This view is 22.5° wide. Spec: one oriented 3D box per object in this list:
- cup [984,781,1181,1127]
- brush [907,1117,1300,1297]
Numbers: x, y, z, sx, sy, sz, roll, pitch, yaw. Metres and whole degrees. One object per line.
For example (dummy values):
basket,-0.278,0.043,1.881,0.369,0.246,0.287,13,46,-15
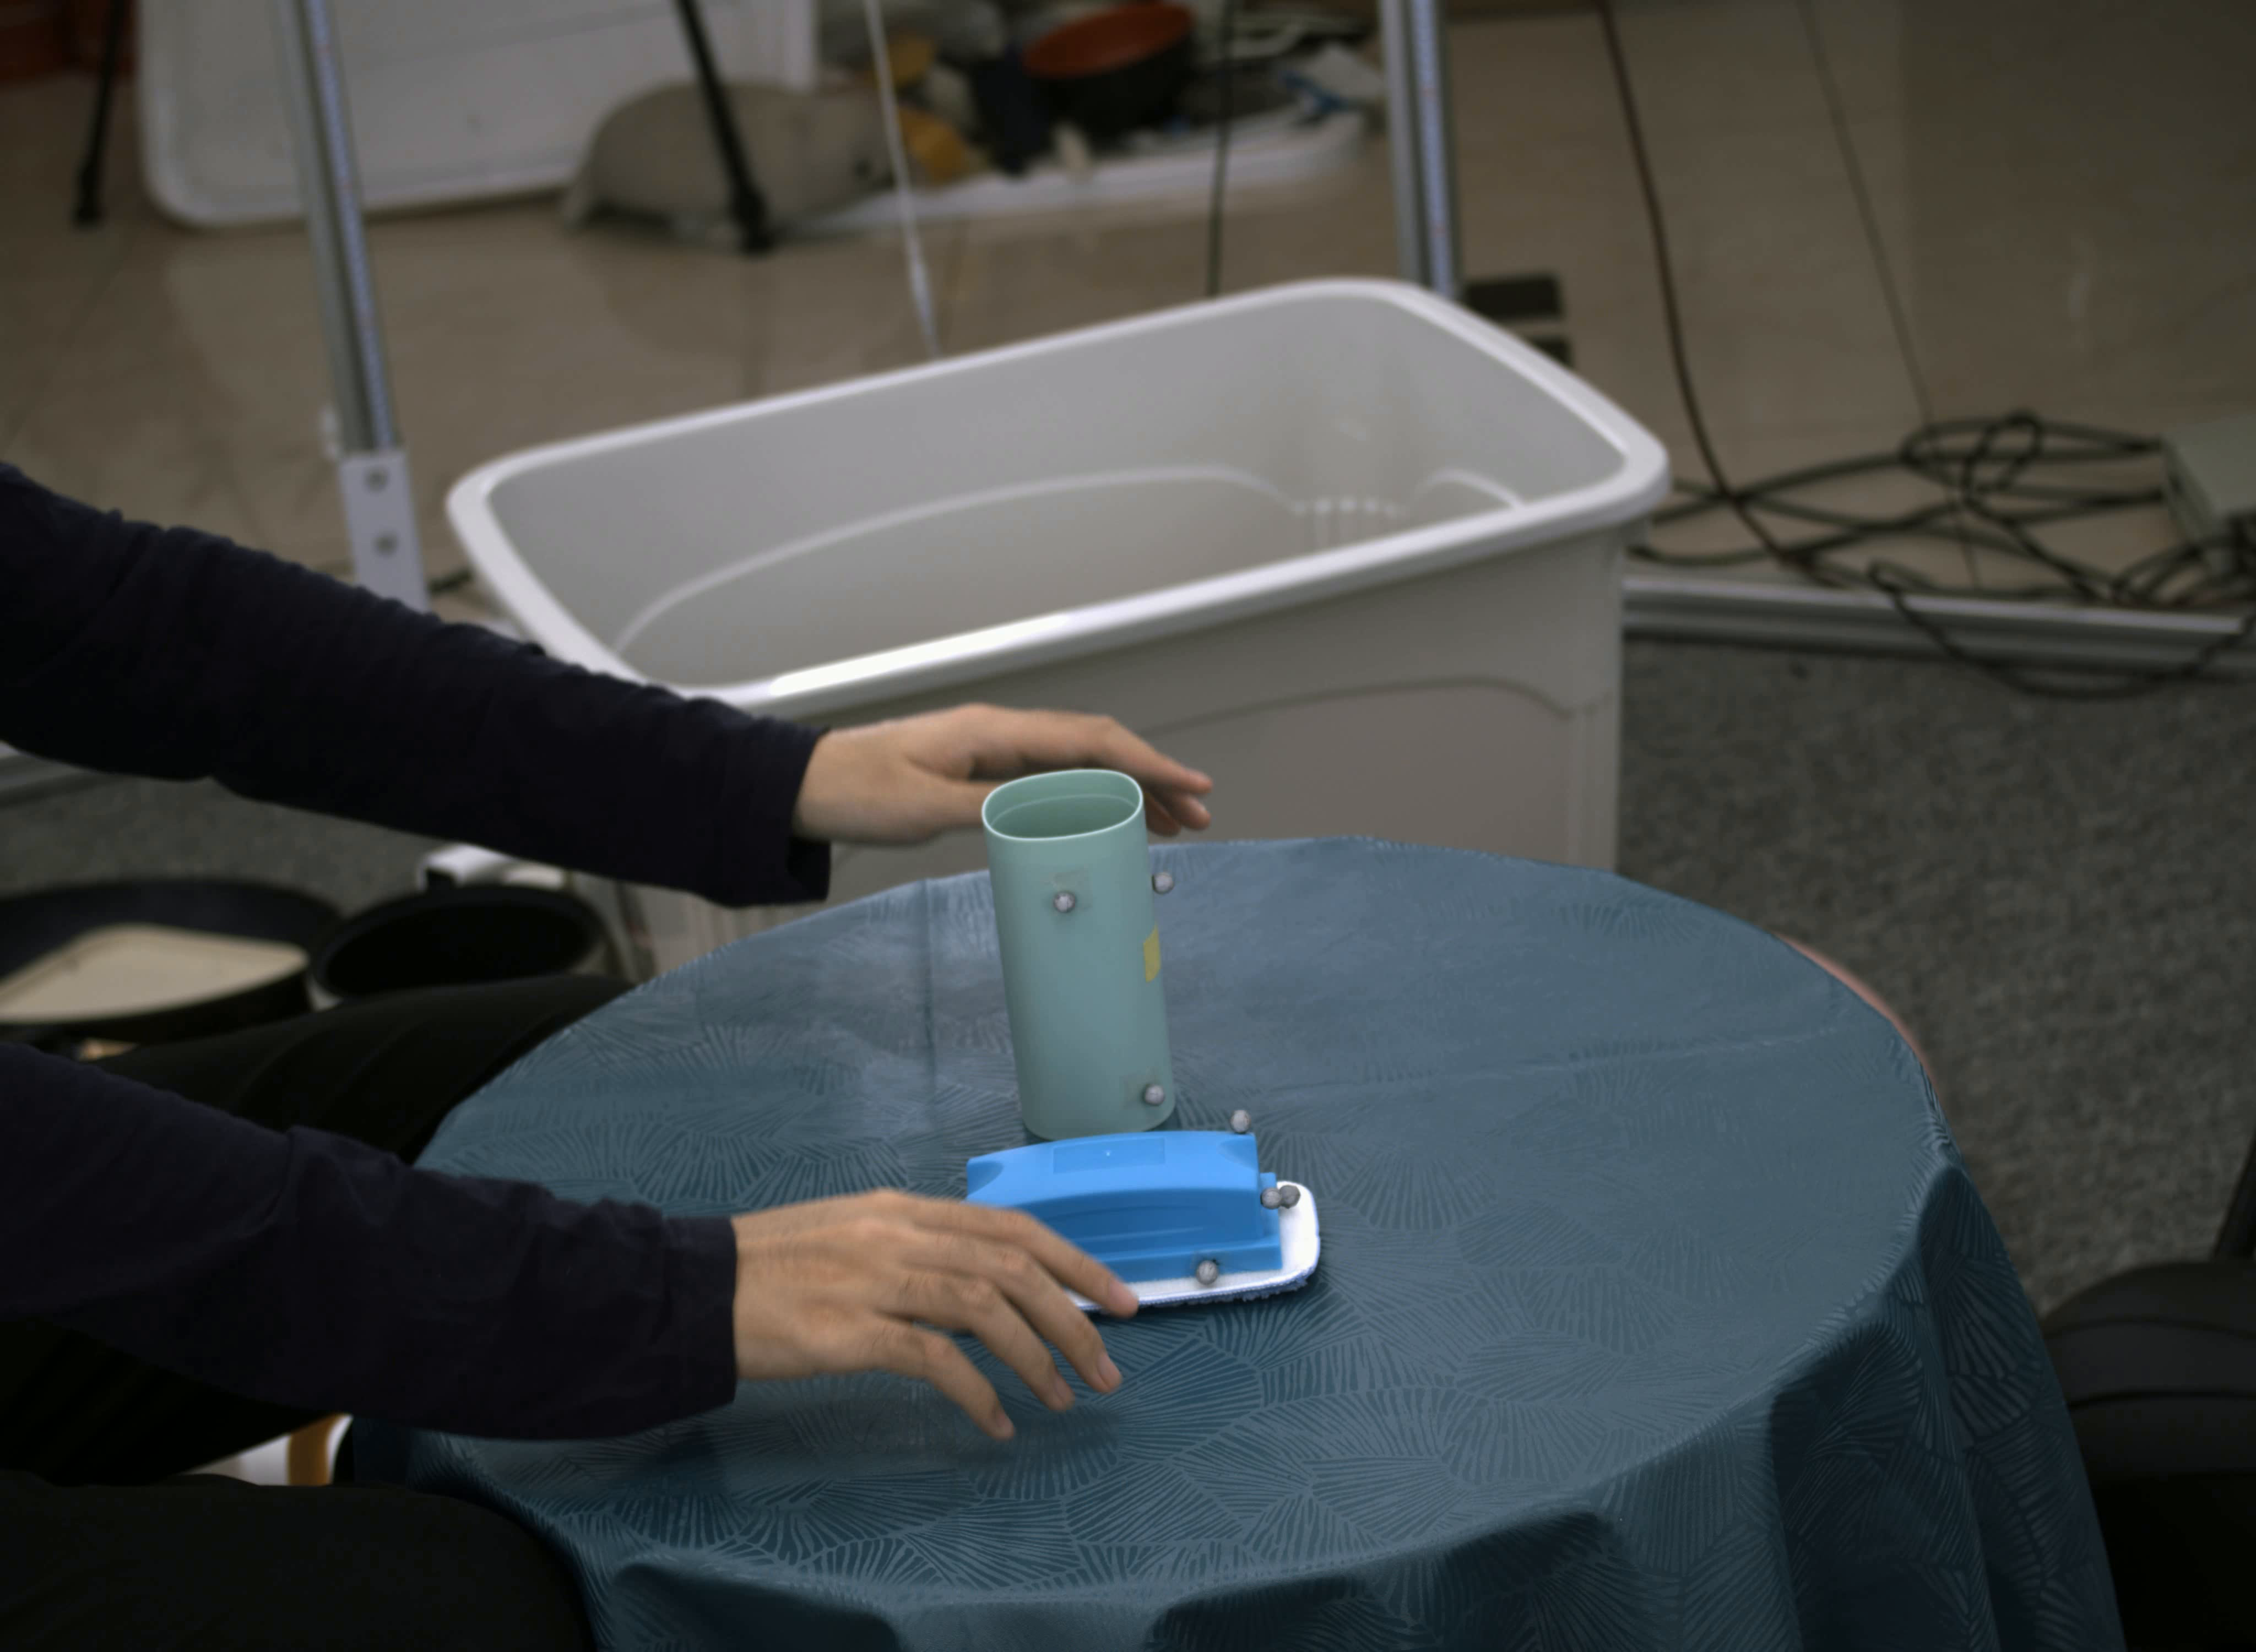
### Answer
cup,-0.018,0.055,2.188,0.066,0.134,0.066,-6,26,3
brush,-0.009,0.137,2.080,0.144,0.057,0.083,-2,22,3
